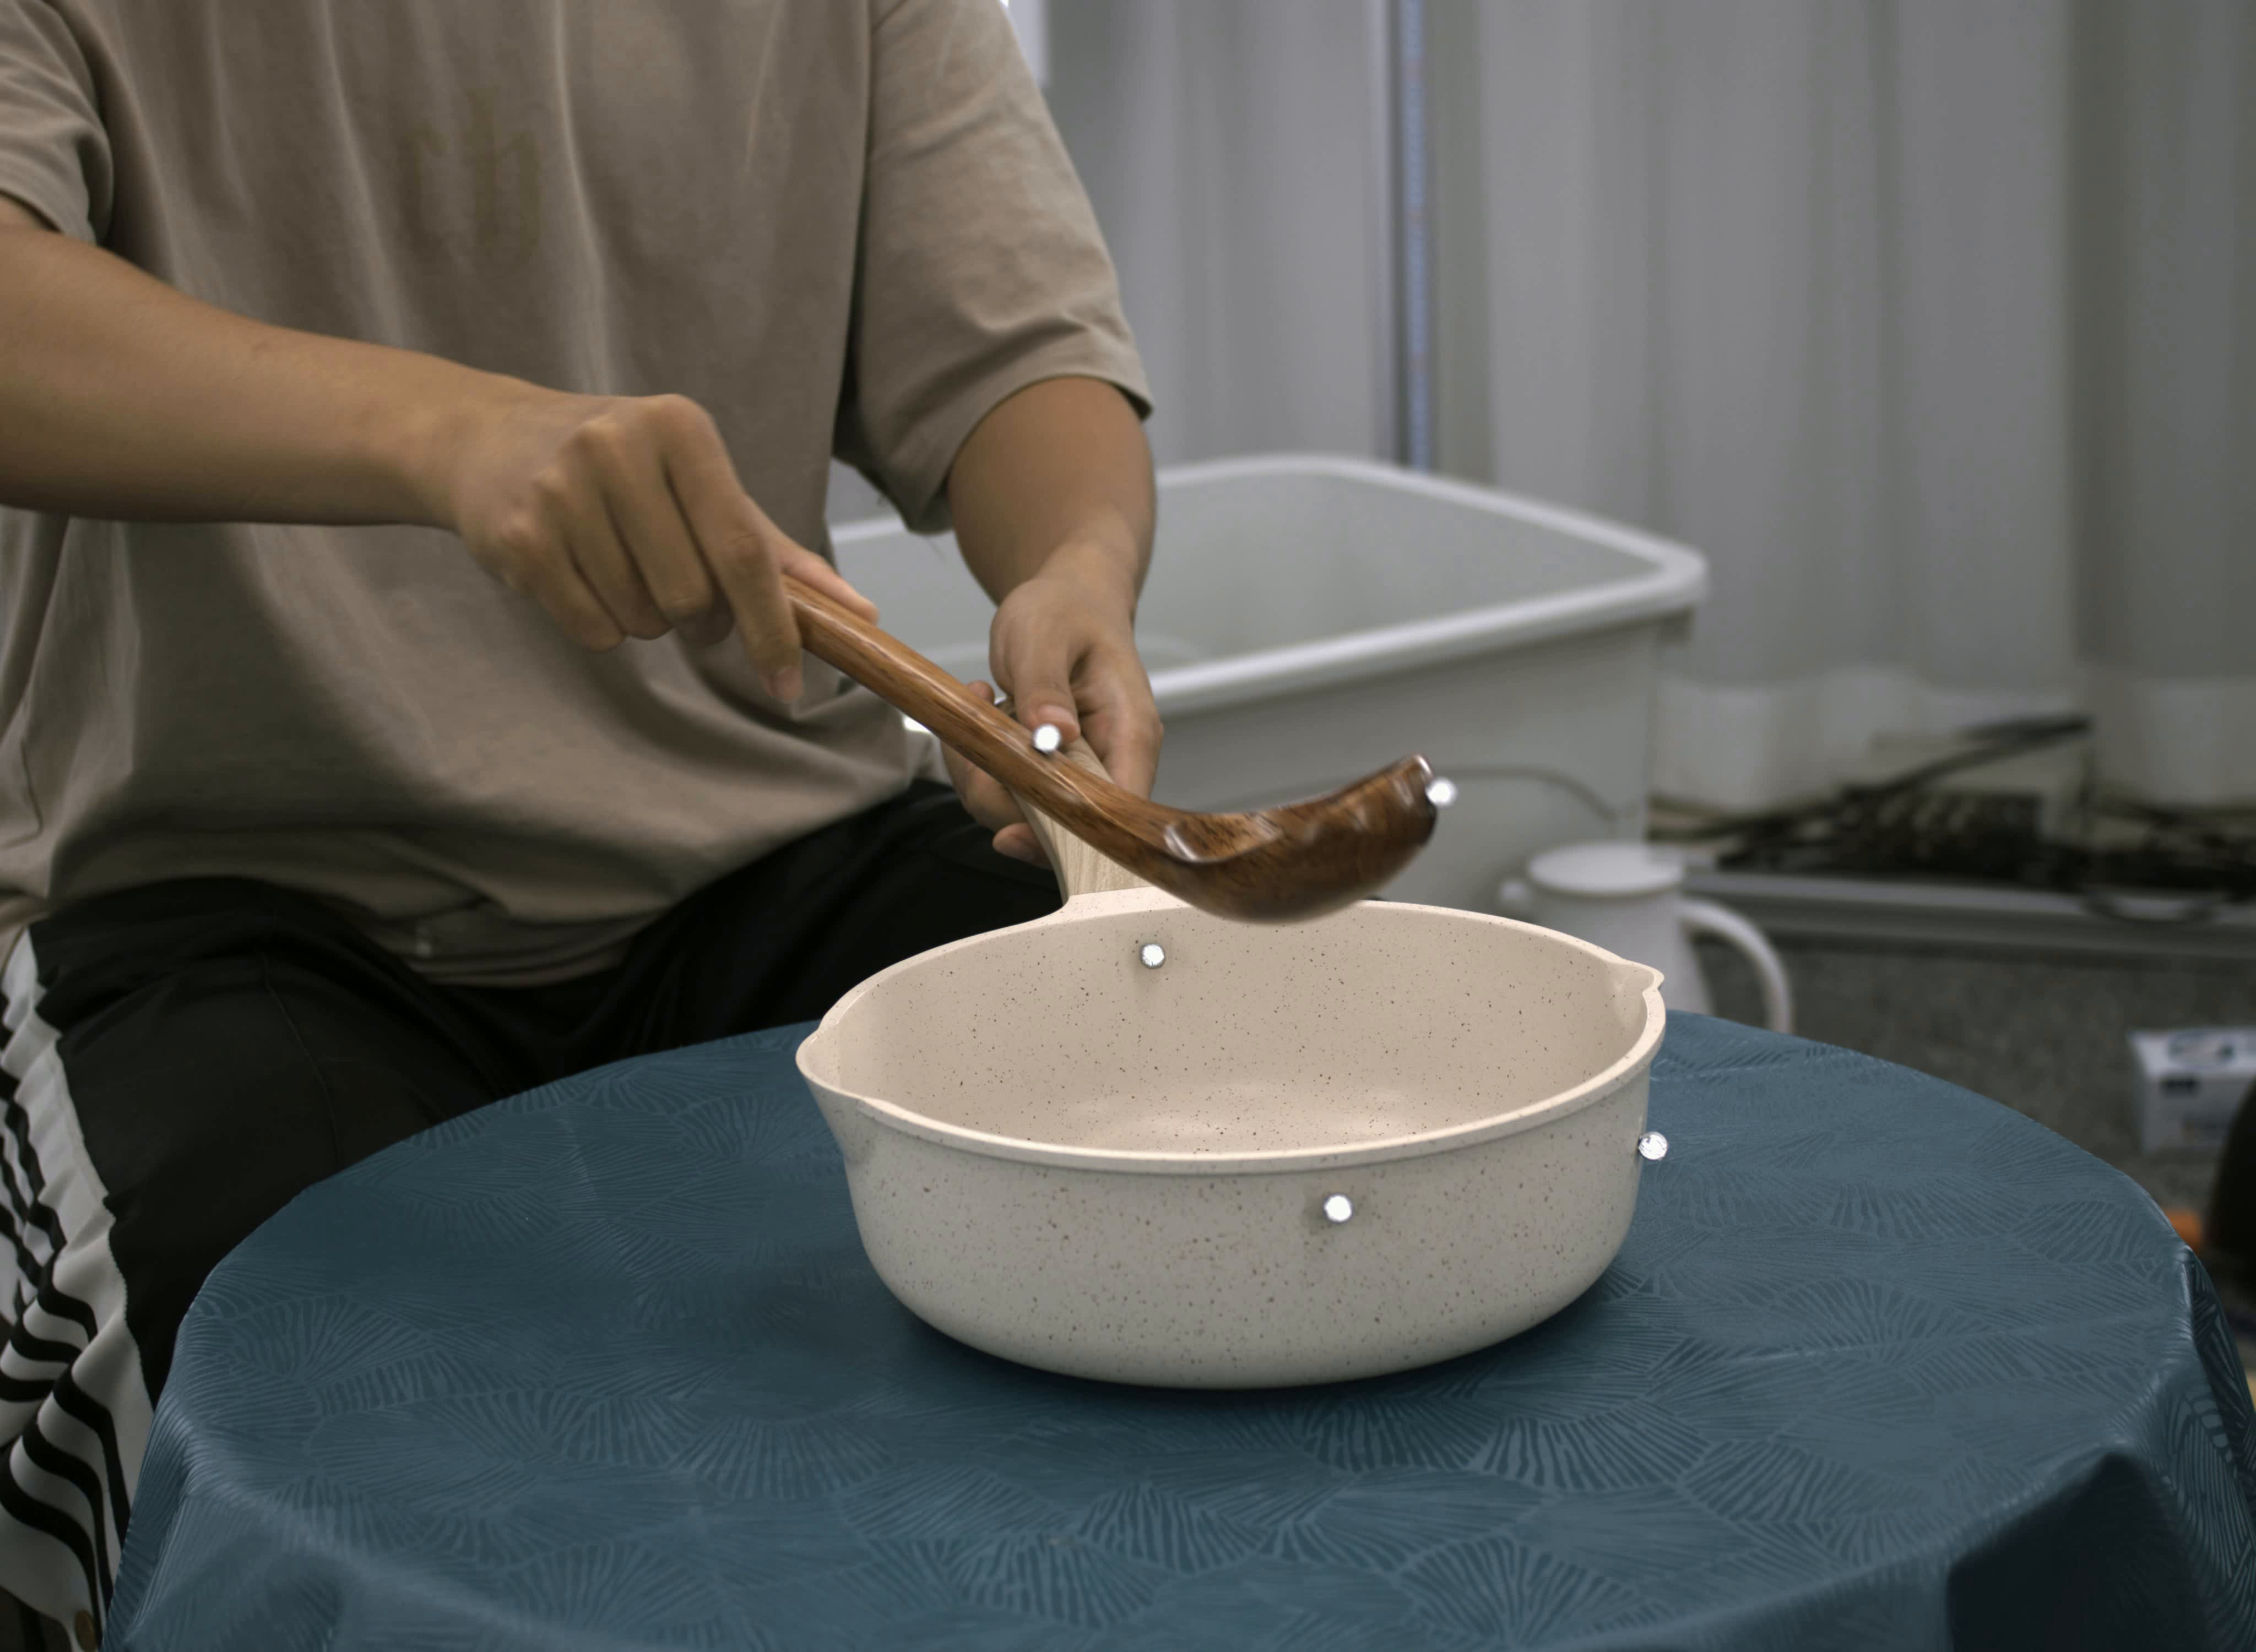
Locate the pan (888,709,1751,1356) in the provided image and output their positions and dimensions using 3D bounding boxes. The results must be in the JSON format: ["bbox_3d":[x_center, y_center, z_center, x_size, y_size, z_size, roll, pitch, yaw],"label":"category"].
[{"bbox_3d":[0.038,0.058,1.712,0.262,0.101,0.438,-8,15,-12],"label":"pan"}]

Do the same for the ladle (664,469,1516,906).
[{"bbox_3d":[-0.013,-0.058,1.607,0.275,0.076,0.082,33,18,15],"label":"ladle"}]
